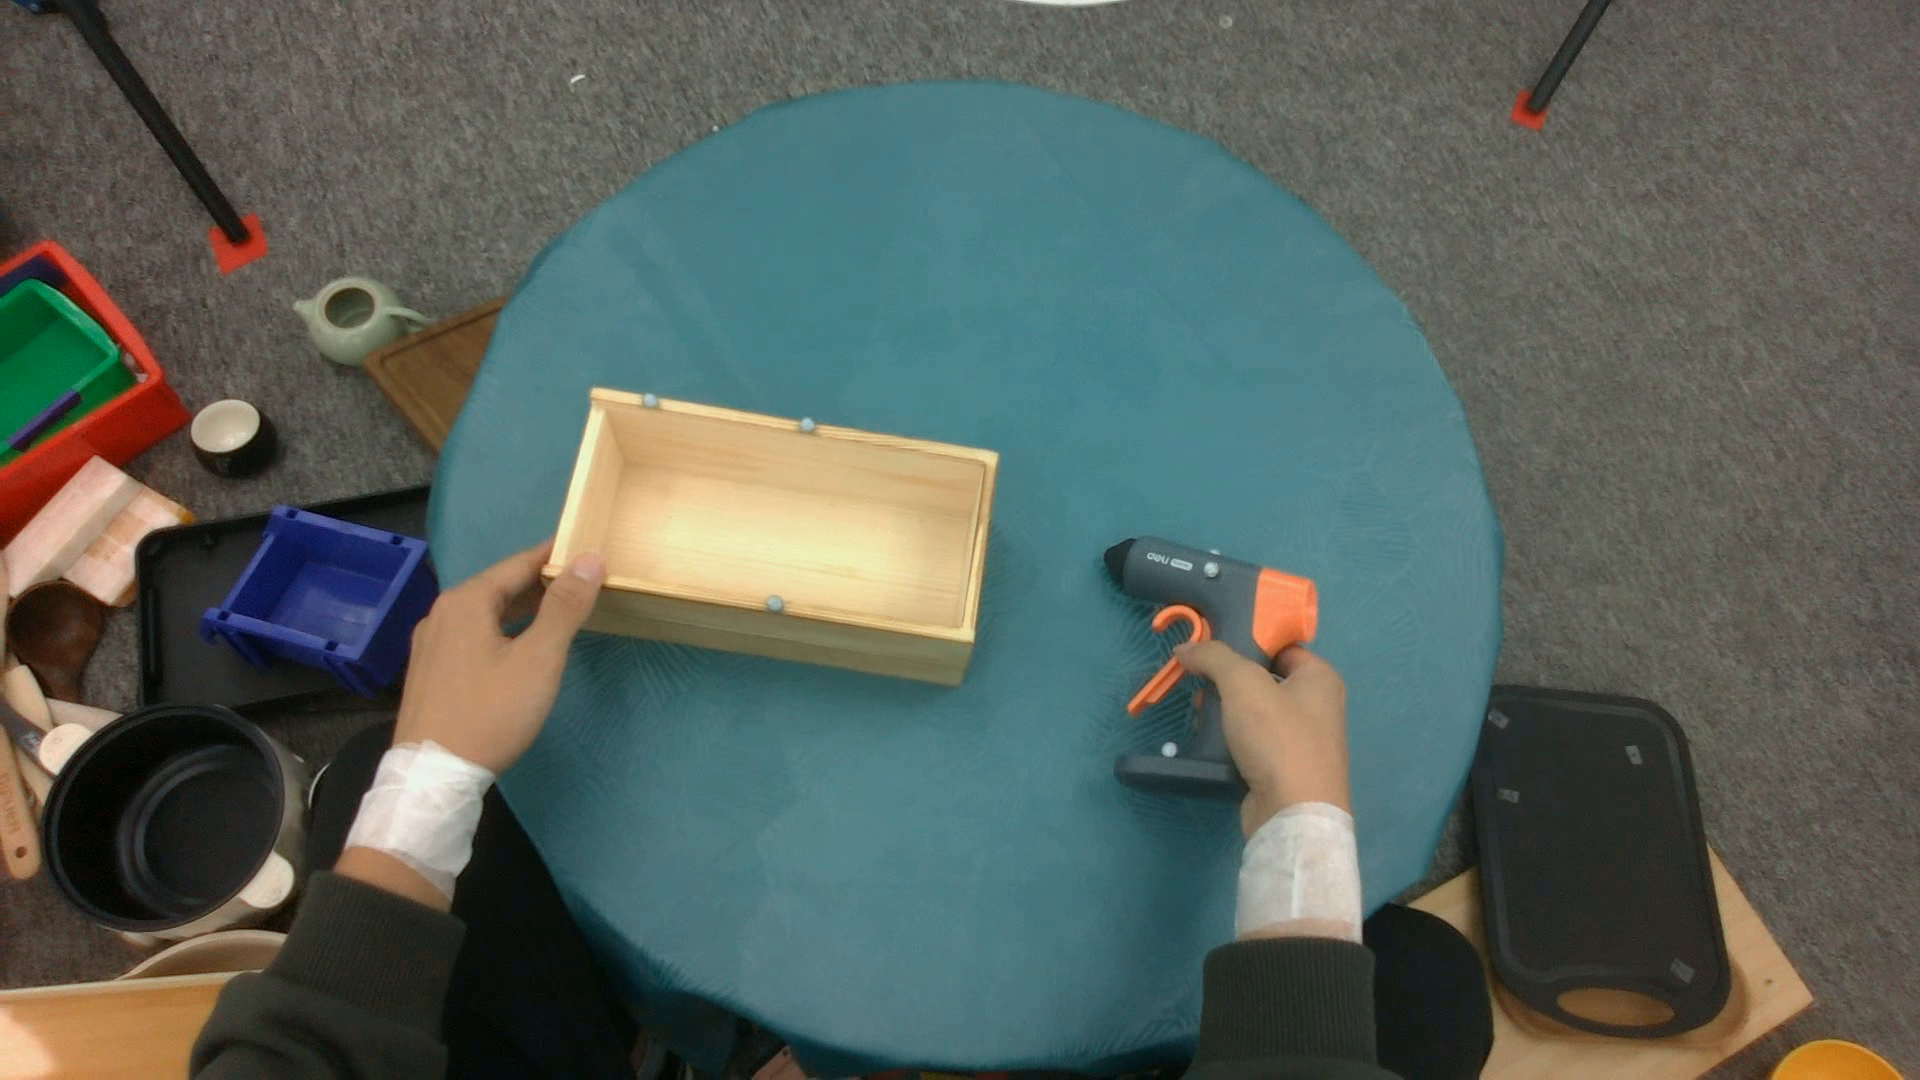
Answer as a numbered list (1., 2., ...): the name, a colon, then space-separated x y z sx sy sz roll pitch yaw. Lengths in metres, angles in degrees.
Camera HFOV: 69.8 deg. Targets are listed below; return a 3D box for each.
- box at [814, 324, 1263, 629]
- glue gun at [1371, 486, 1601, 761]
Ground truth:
1. box: 0.043 -0.033 0.732 0.211 0.080 0.108 11 73 9
2. glue gun: 0.254 0.036 0.697 0.117 0.041 0.140 0 66 41
